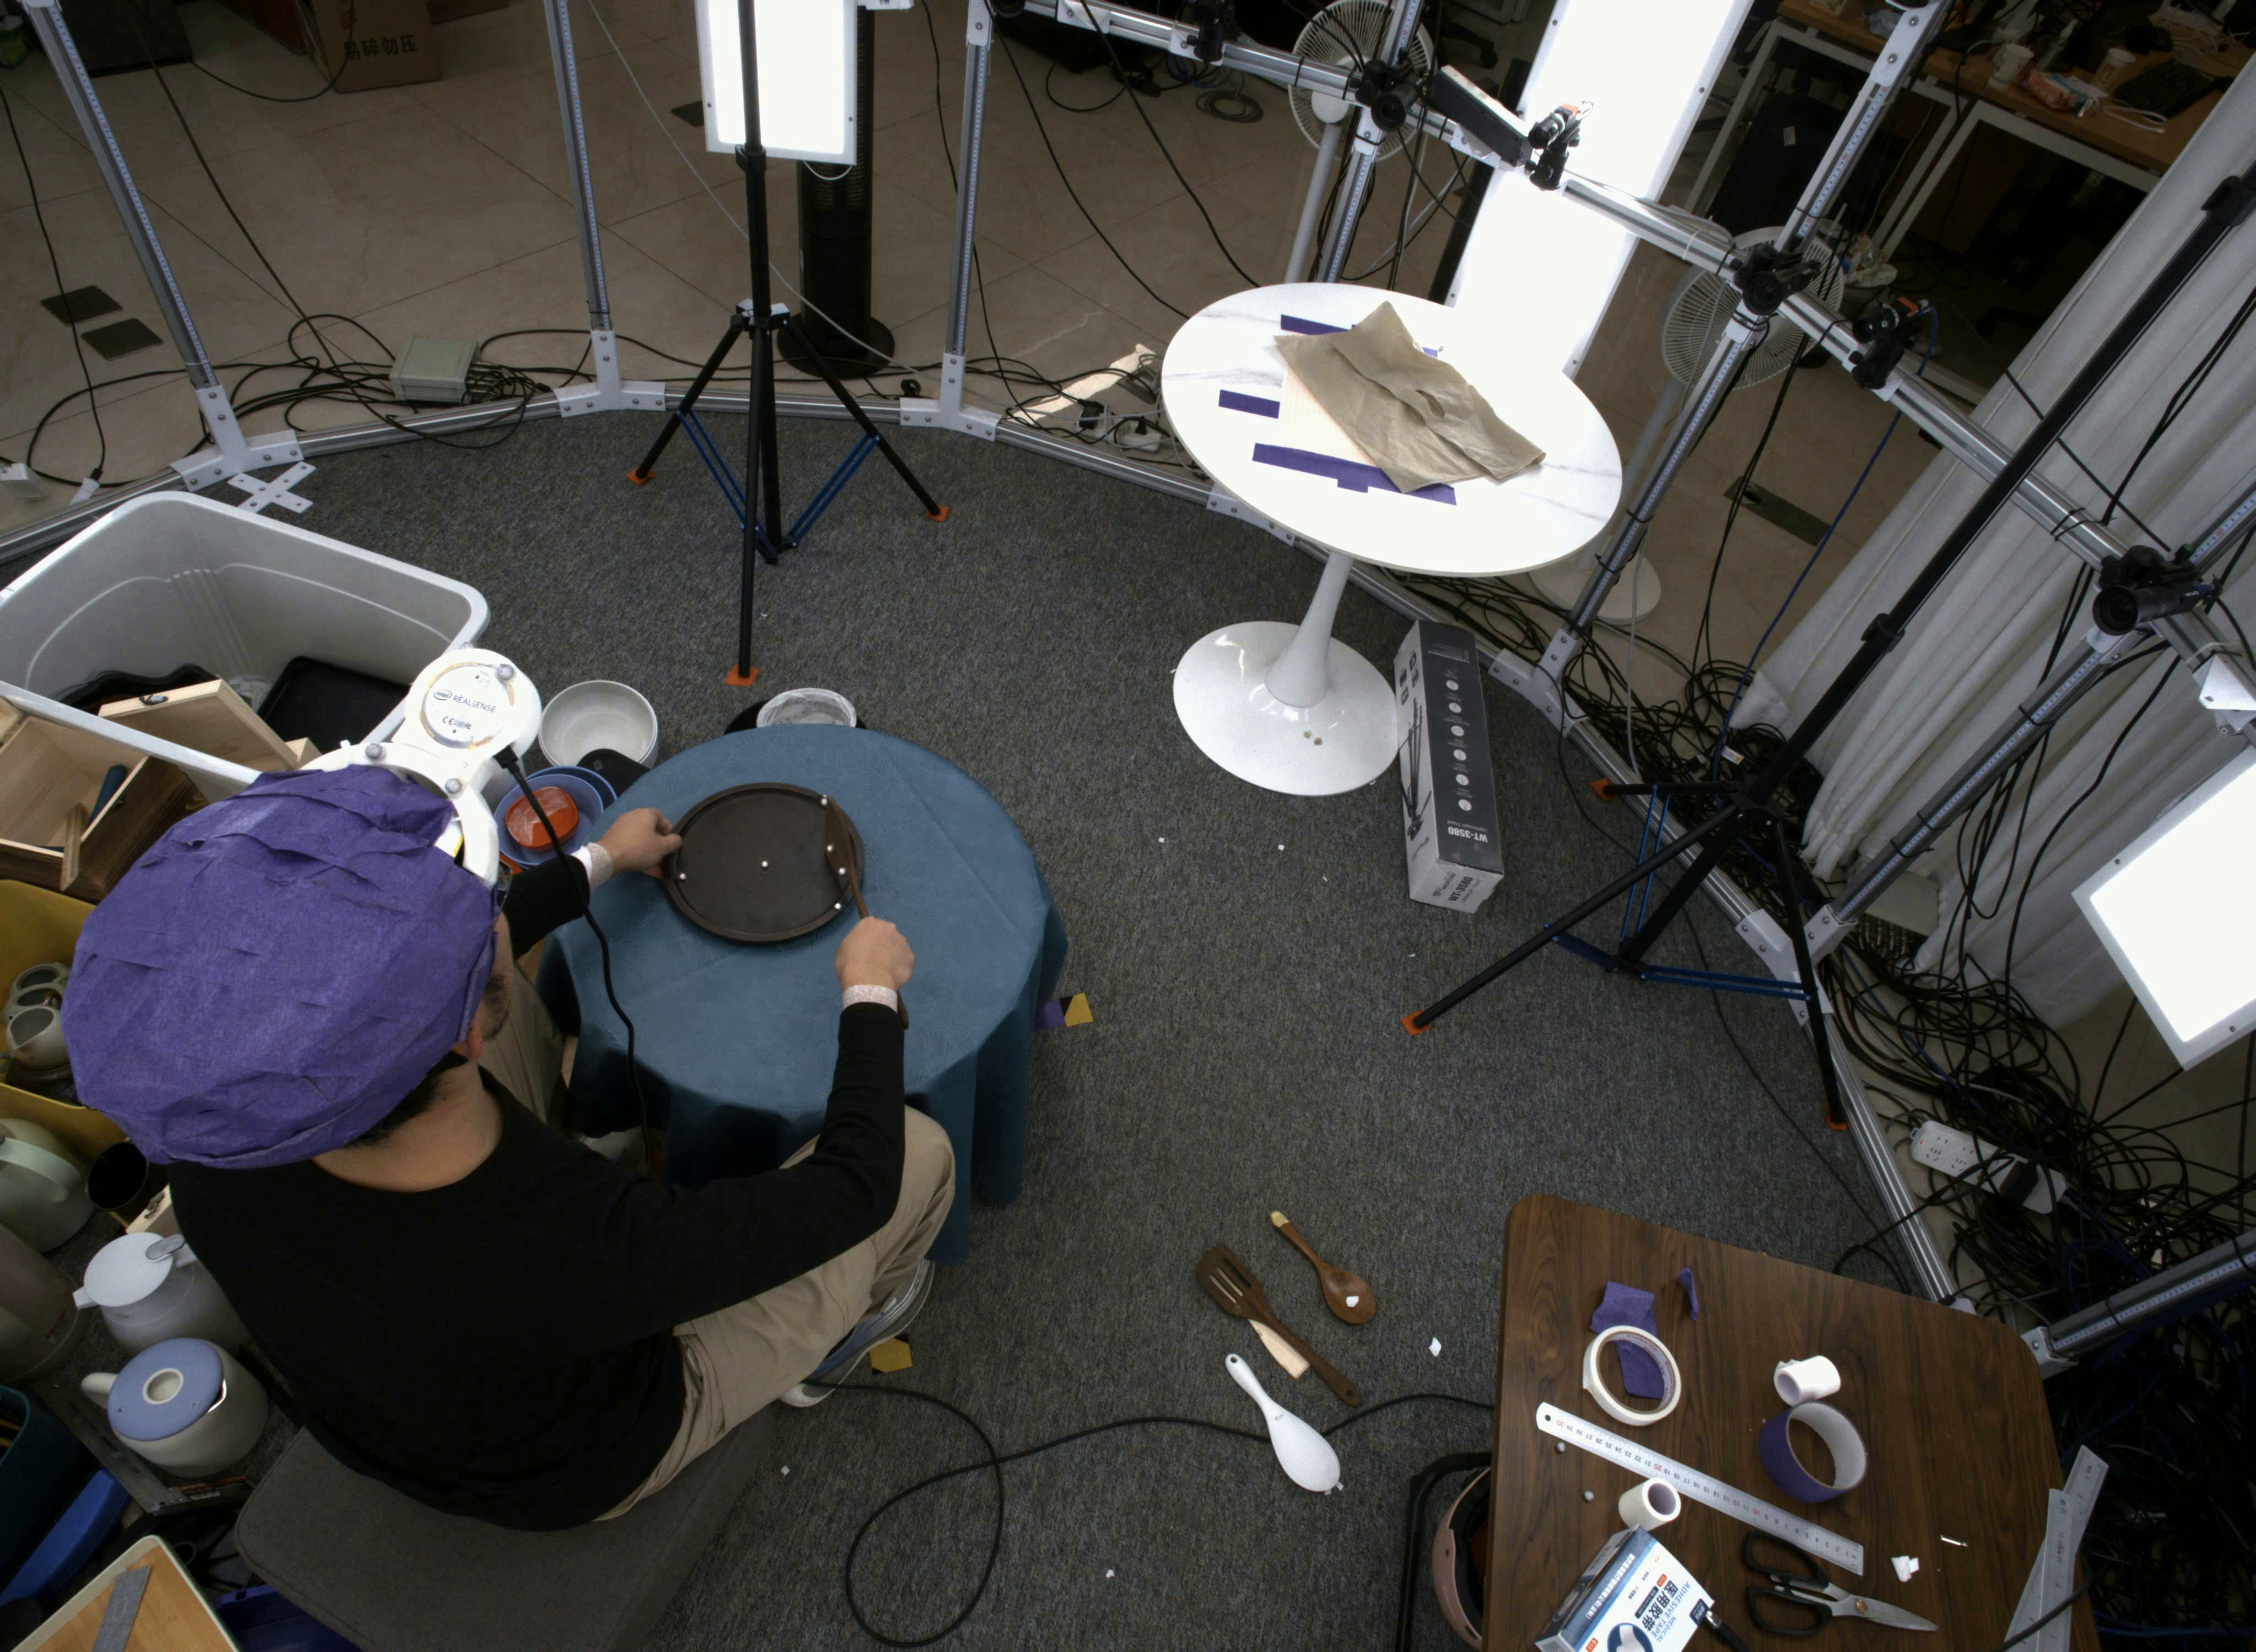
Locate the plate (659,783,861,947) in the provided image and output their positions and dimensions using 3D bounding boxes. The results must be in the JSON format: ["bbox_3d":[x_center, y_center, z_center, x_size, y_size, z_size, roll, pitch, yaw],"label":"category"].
[{"bbox_3d":[-0.470,0.046,1.656,0.254,0.029,0.250,9,53,-10],"label":"plate"}]

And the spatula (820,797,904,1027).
[{"bbox_3d":[-0.320,0.101,1.534,0.016,0.099,0.373,-8,40,-23],"label":"spatula"}]
